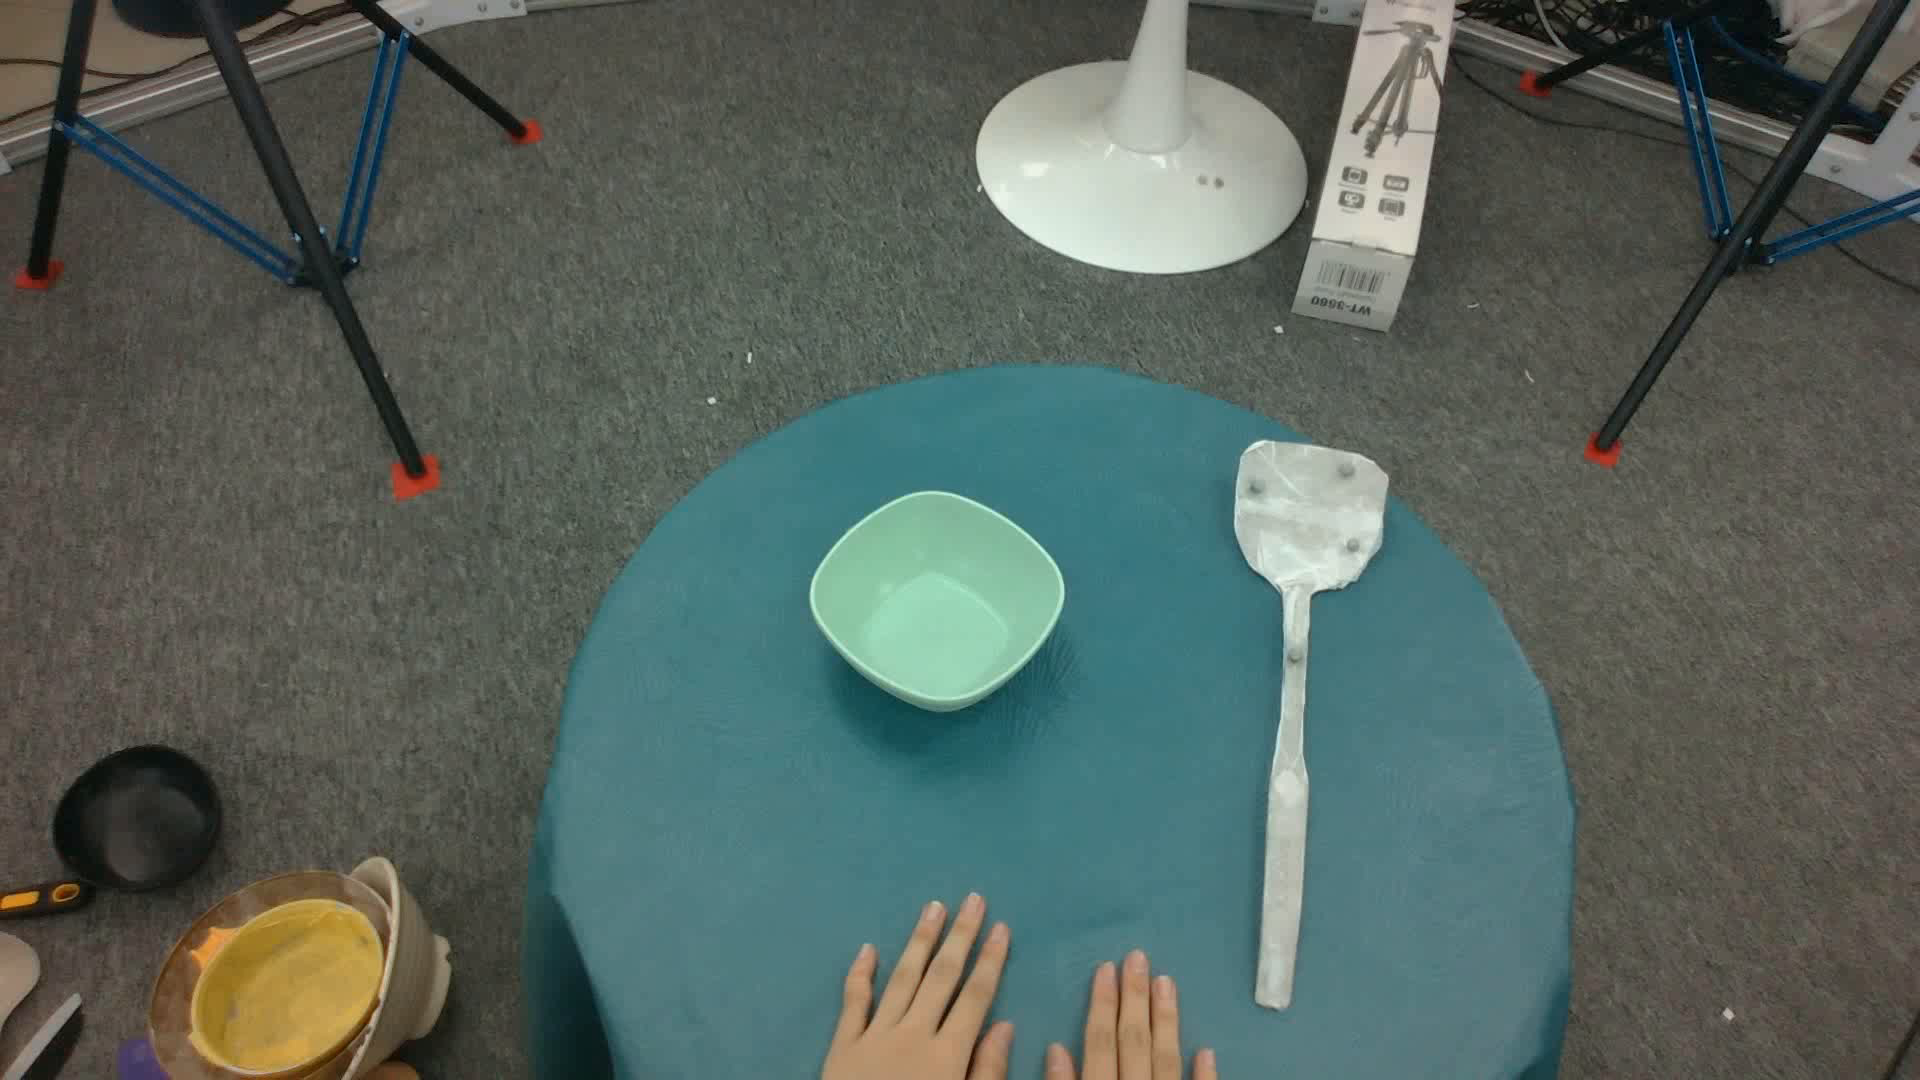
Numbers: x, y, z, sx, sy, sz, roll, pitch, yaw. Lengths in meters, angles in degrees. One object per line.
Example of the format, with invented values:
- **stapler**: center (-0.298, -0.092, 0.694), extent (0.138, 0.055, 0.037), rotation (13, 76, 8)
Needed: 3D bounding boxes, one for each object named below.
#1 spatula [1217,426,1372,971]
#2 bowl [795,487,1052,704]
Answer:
- **spatula**: center (0.189, 0.080, 0.828), extent (0.098, 0.044, 0.367), rotation (13, 53, 3)
- **bowl**: center (-0.022, 0.042, 0.831), extent (0.151, 0.058, 0.152), rotation (2, 51, -2)
